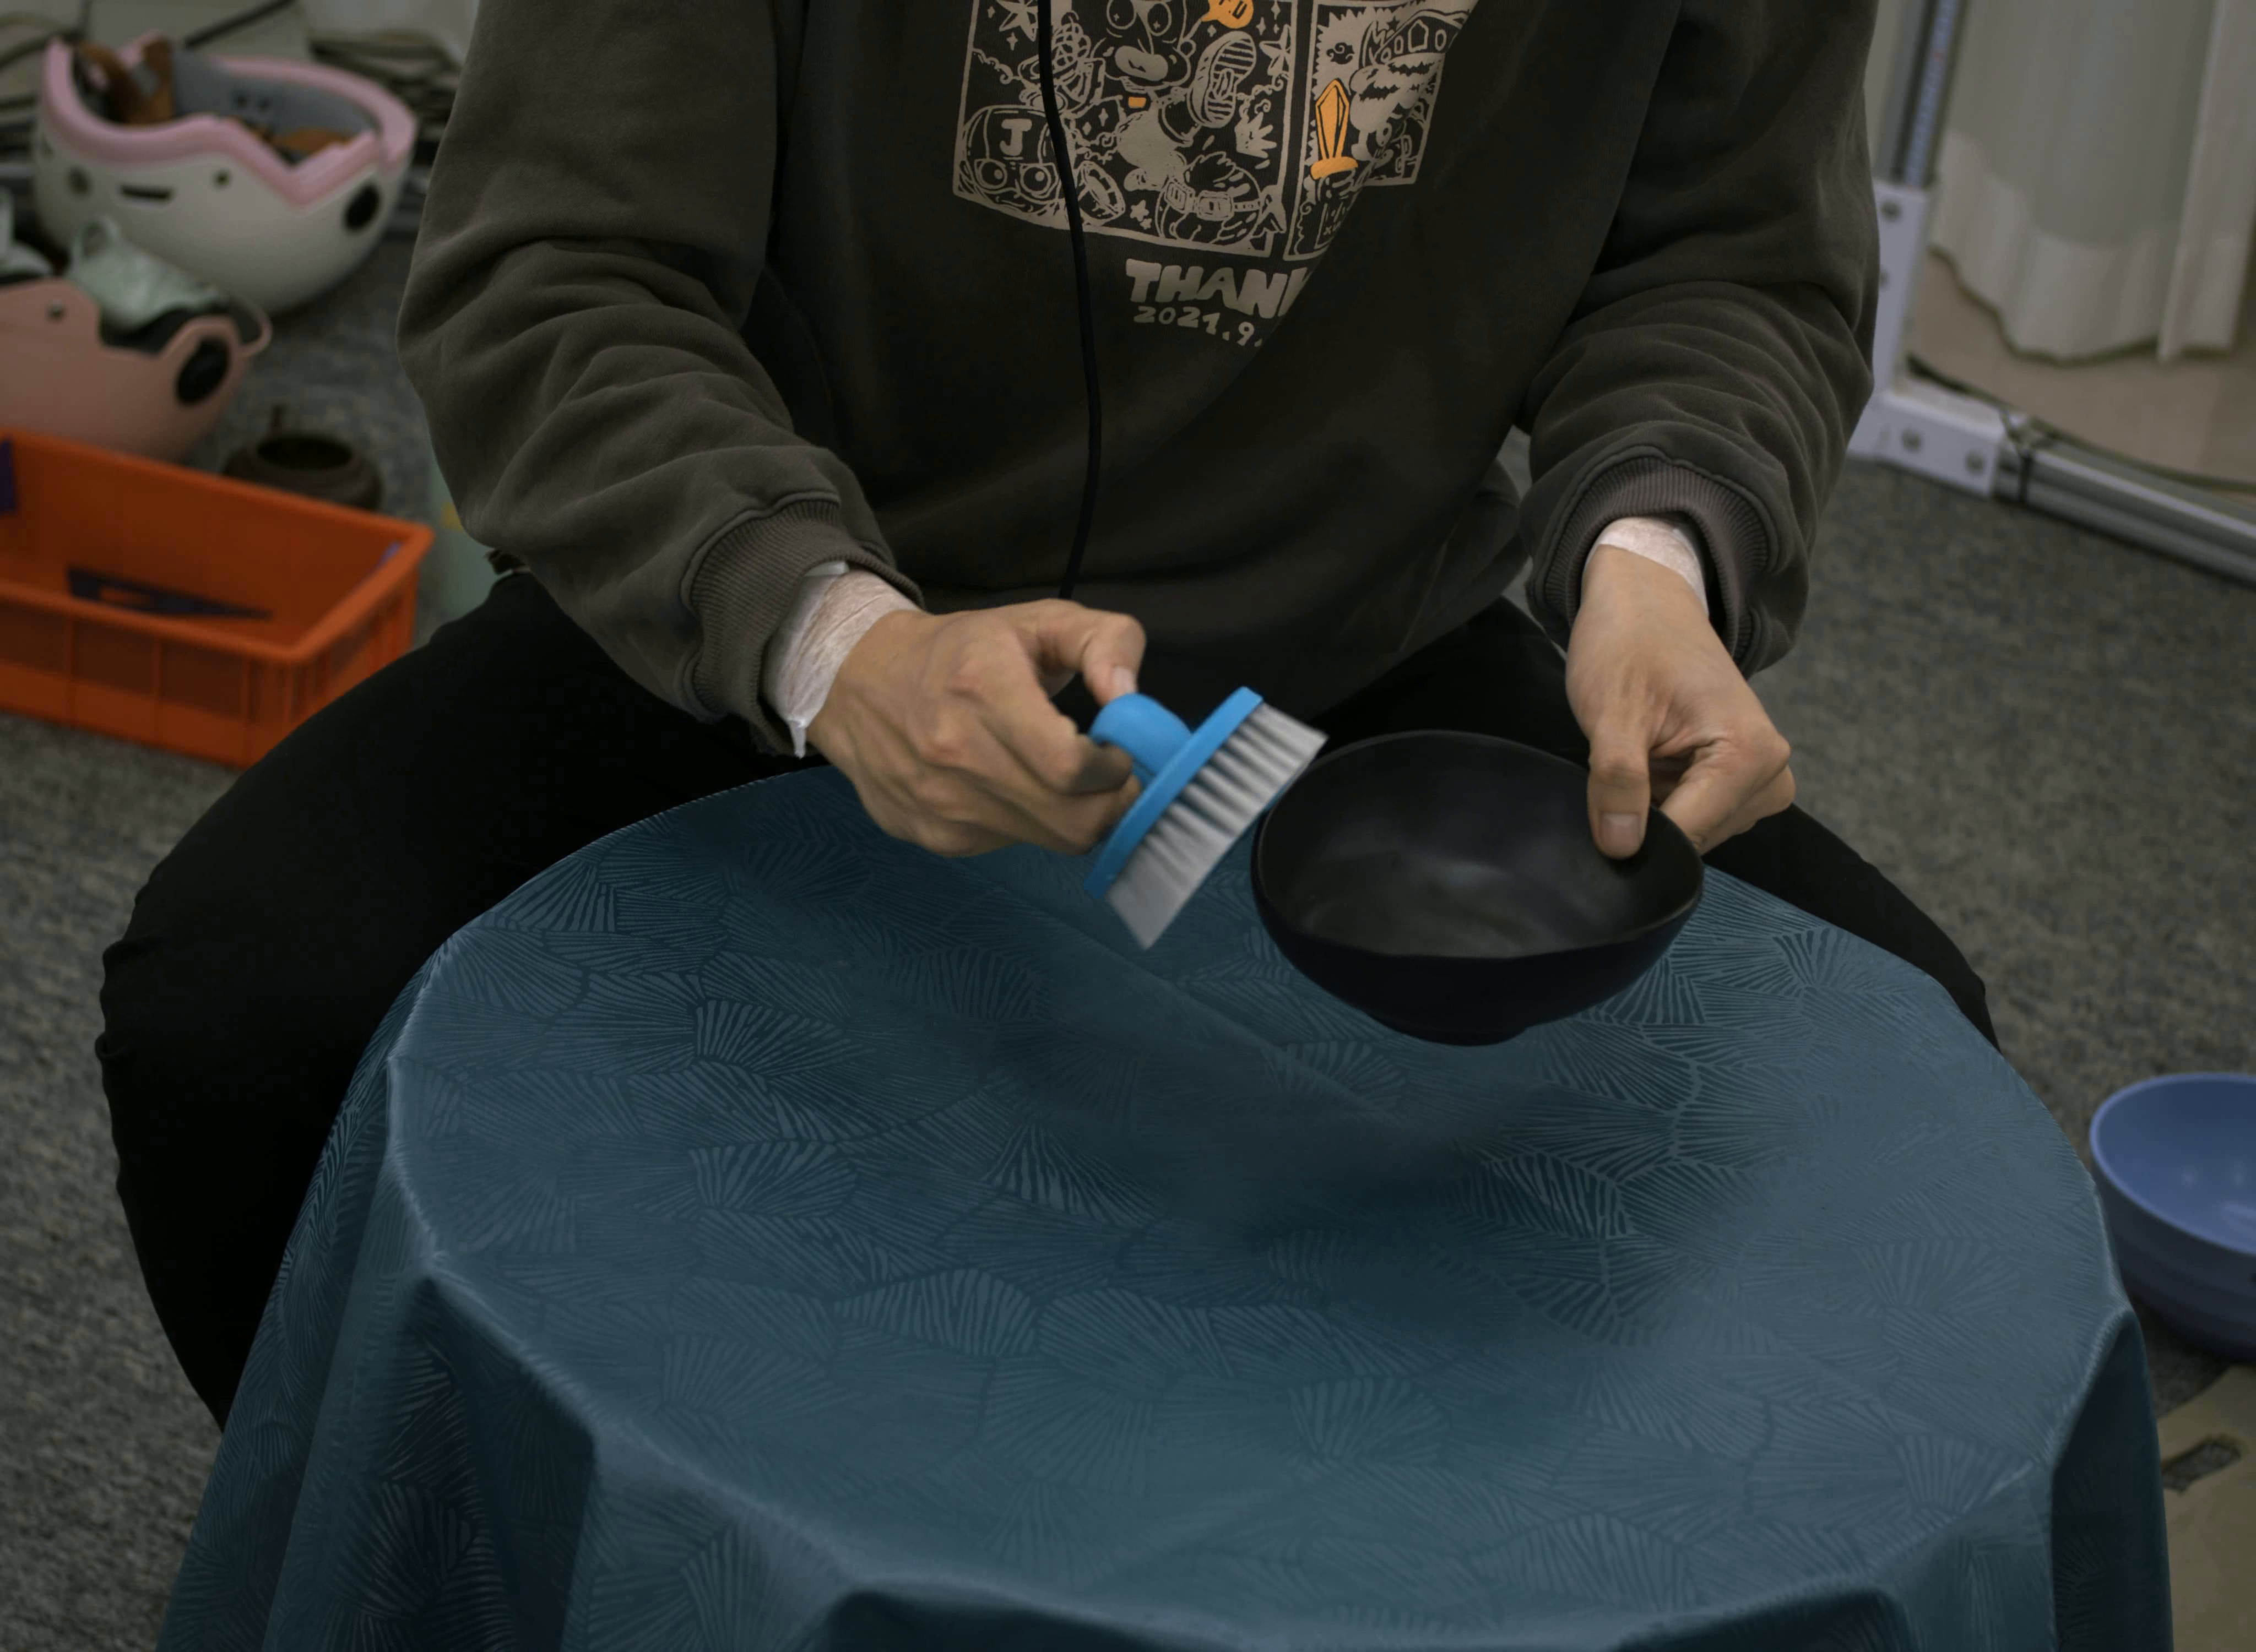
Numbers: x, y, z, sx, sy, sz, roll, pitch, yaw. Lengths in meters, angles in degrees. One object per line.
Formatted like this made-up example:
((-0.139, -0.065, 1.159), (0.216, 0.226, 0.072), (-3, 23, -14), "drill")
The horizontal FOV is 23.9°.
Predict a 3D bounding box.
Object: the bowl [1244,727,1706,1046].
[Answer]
((0.114, 0.031, 1.805), (0.169, 0.066, 0.138), (-14, 38, -37), "bowl")

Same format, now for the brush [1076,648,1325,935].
((0.015, -0.018, 1.788), (0.064, 0.084, 0.141), (35, -13, 1), "brush")
